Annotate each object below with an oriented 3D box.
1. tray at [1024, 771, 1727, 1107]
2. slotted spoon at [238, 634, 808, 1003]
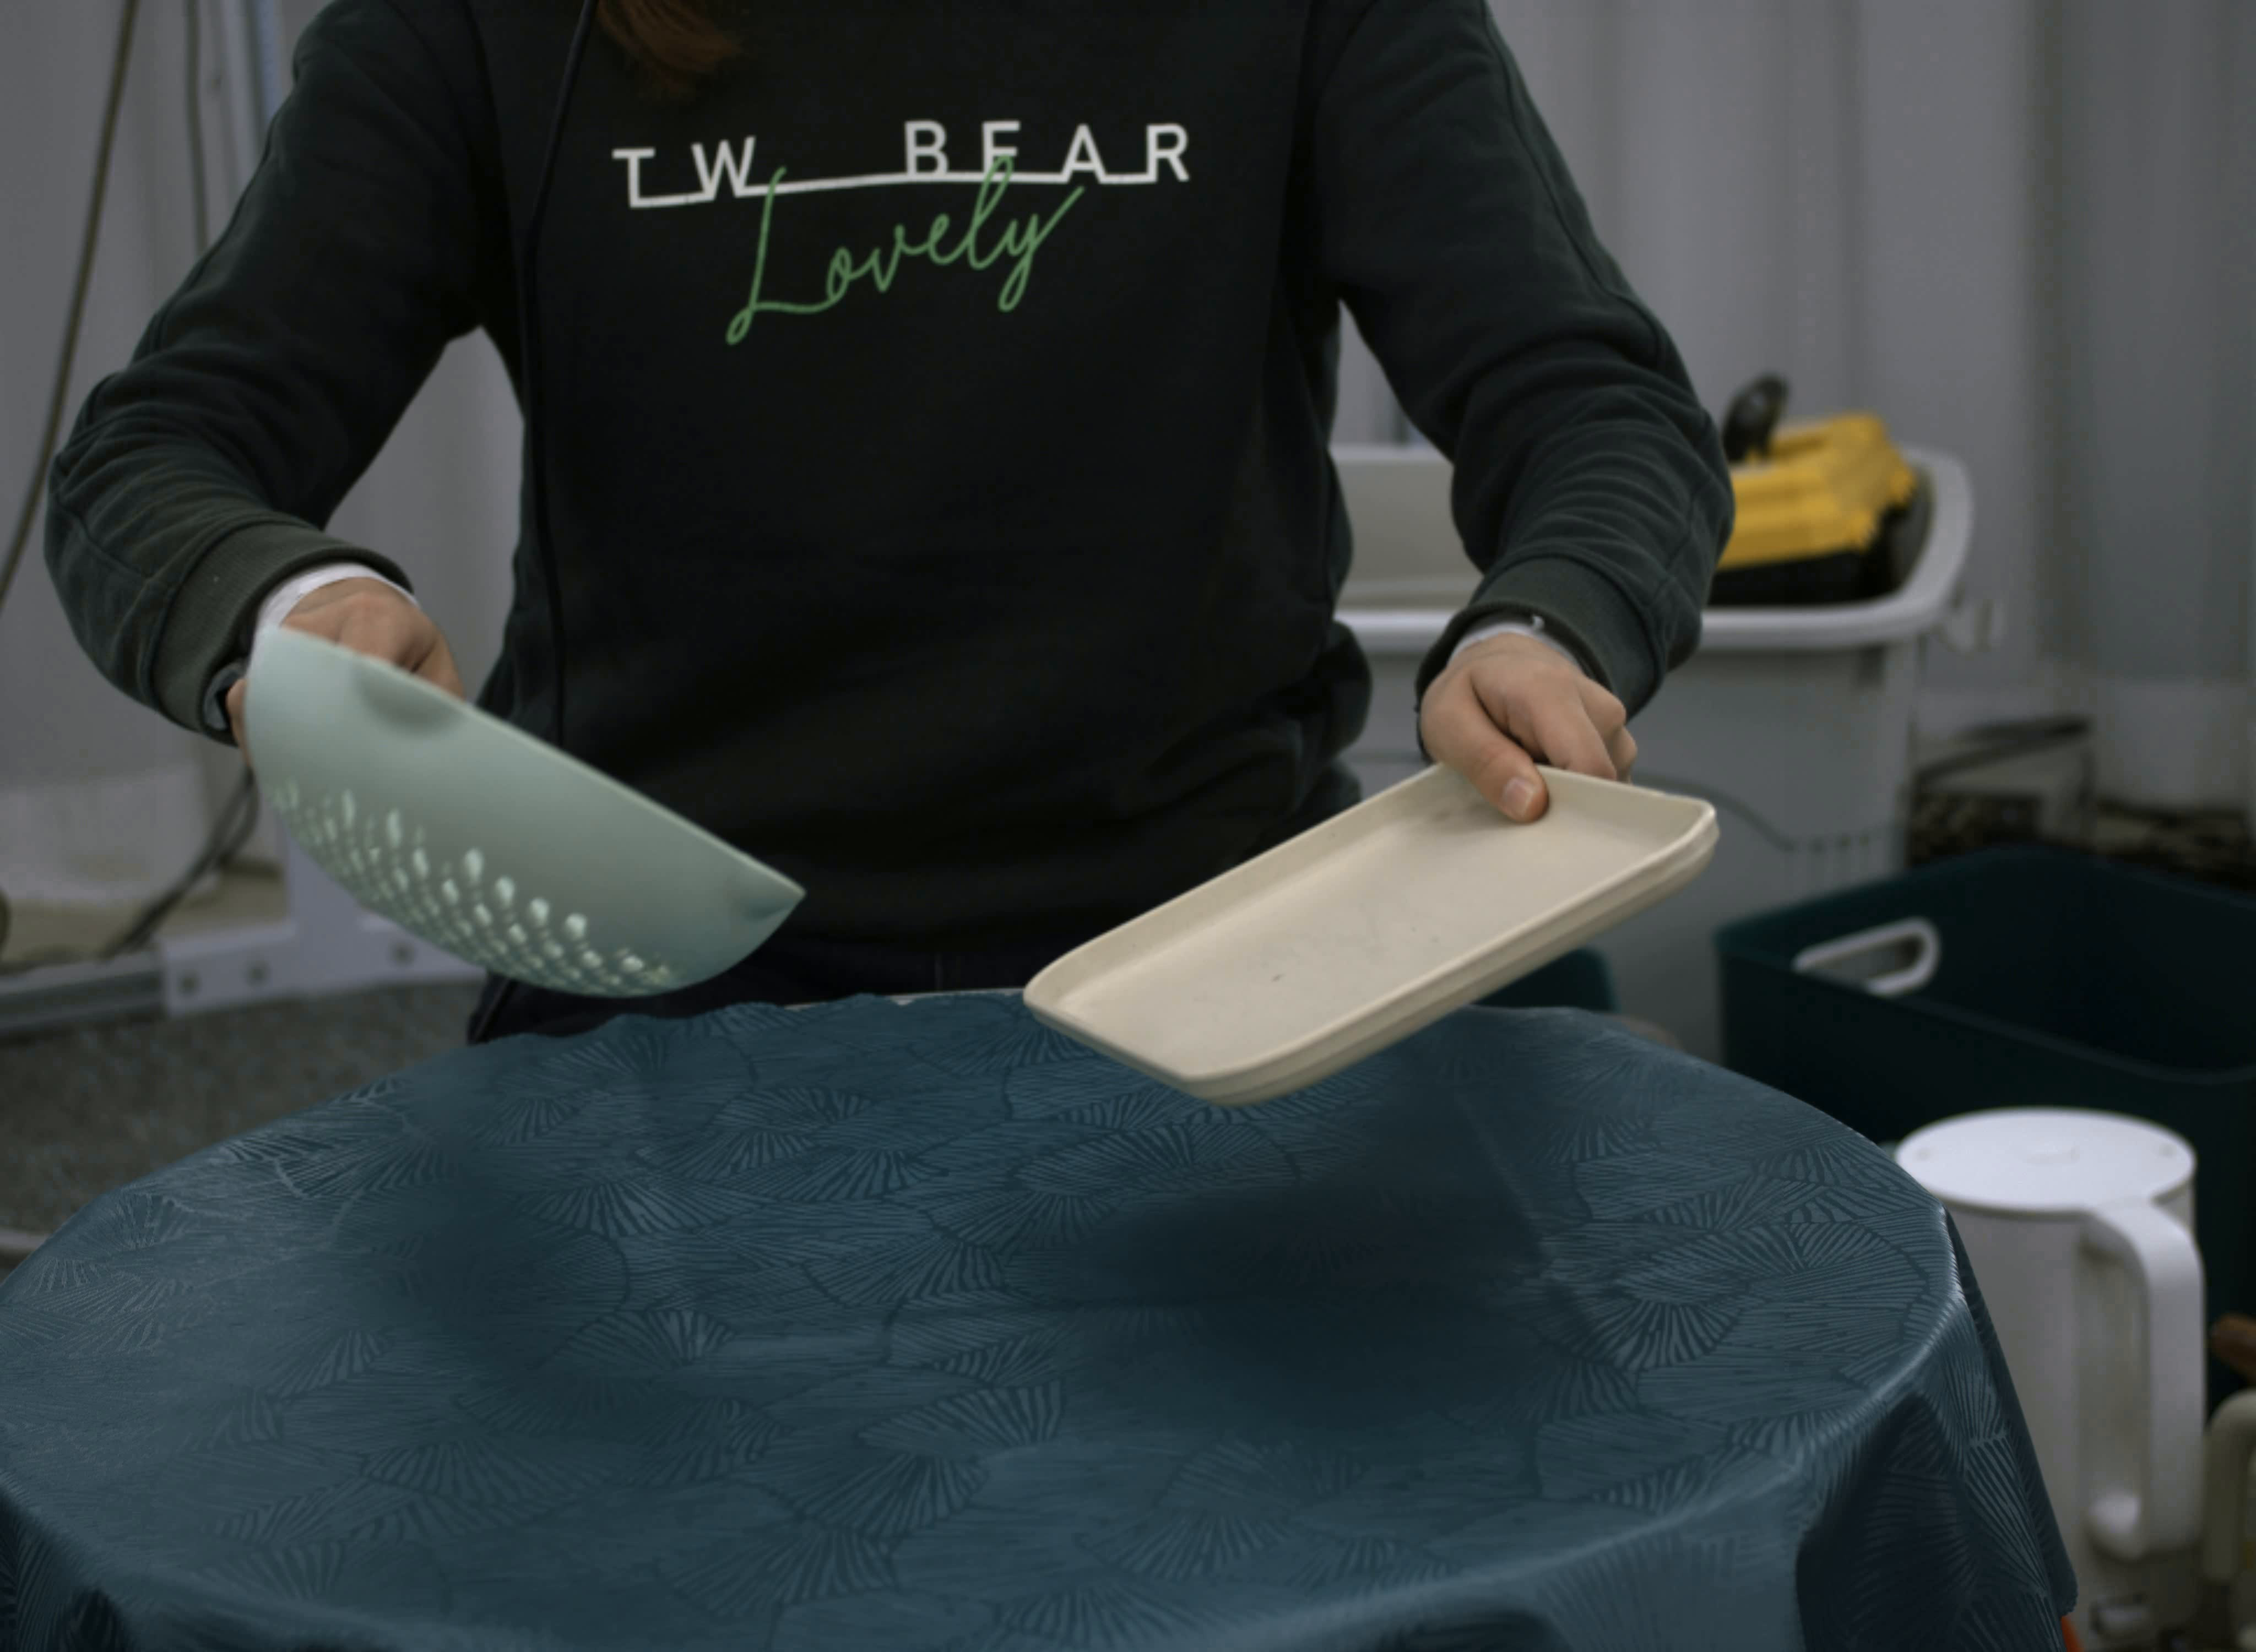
[{"bbox_3d":[0.069,0.032,1.593,0.171,0.017,0.240,-26,10,-12],"label":"tray"},{"bbox_3d":[-0.211,-0.009,1.620,0.168,0.075,0.361,30,-1,-21],"label":"slotted spoon"}]
